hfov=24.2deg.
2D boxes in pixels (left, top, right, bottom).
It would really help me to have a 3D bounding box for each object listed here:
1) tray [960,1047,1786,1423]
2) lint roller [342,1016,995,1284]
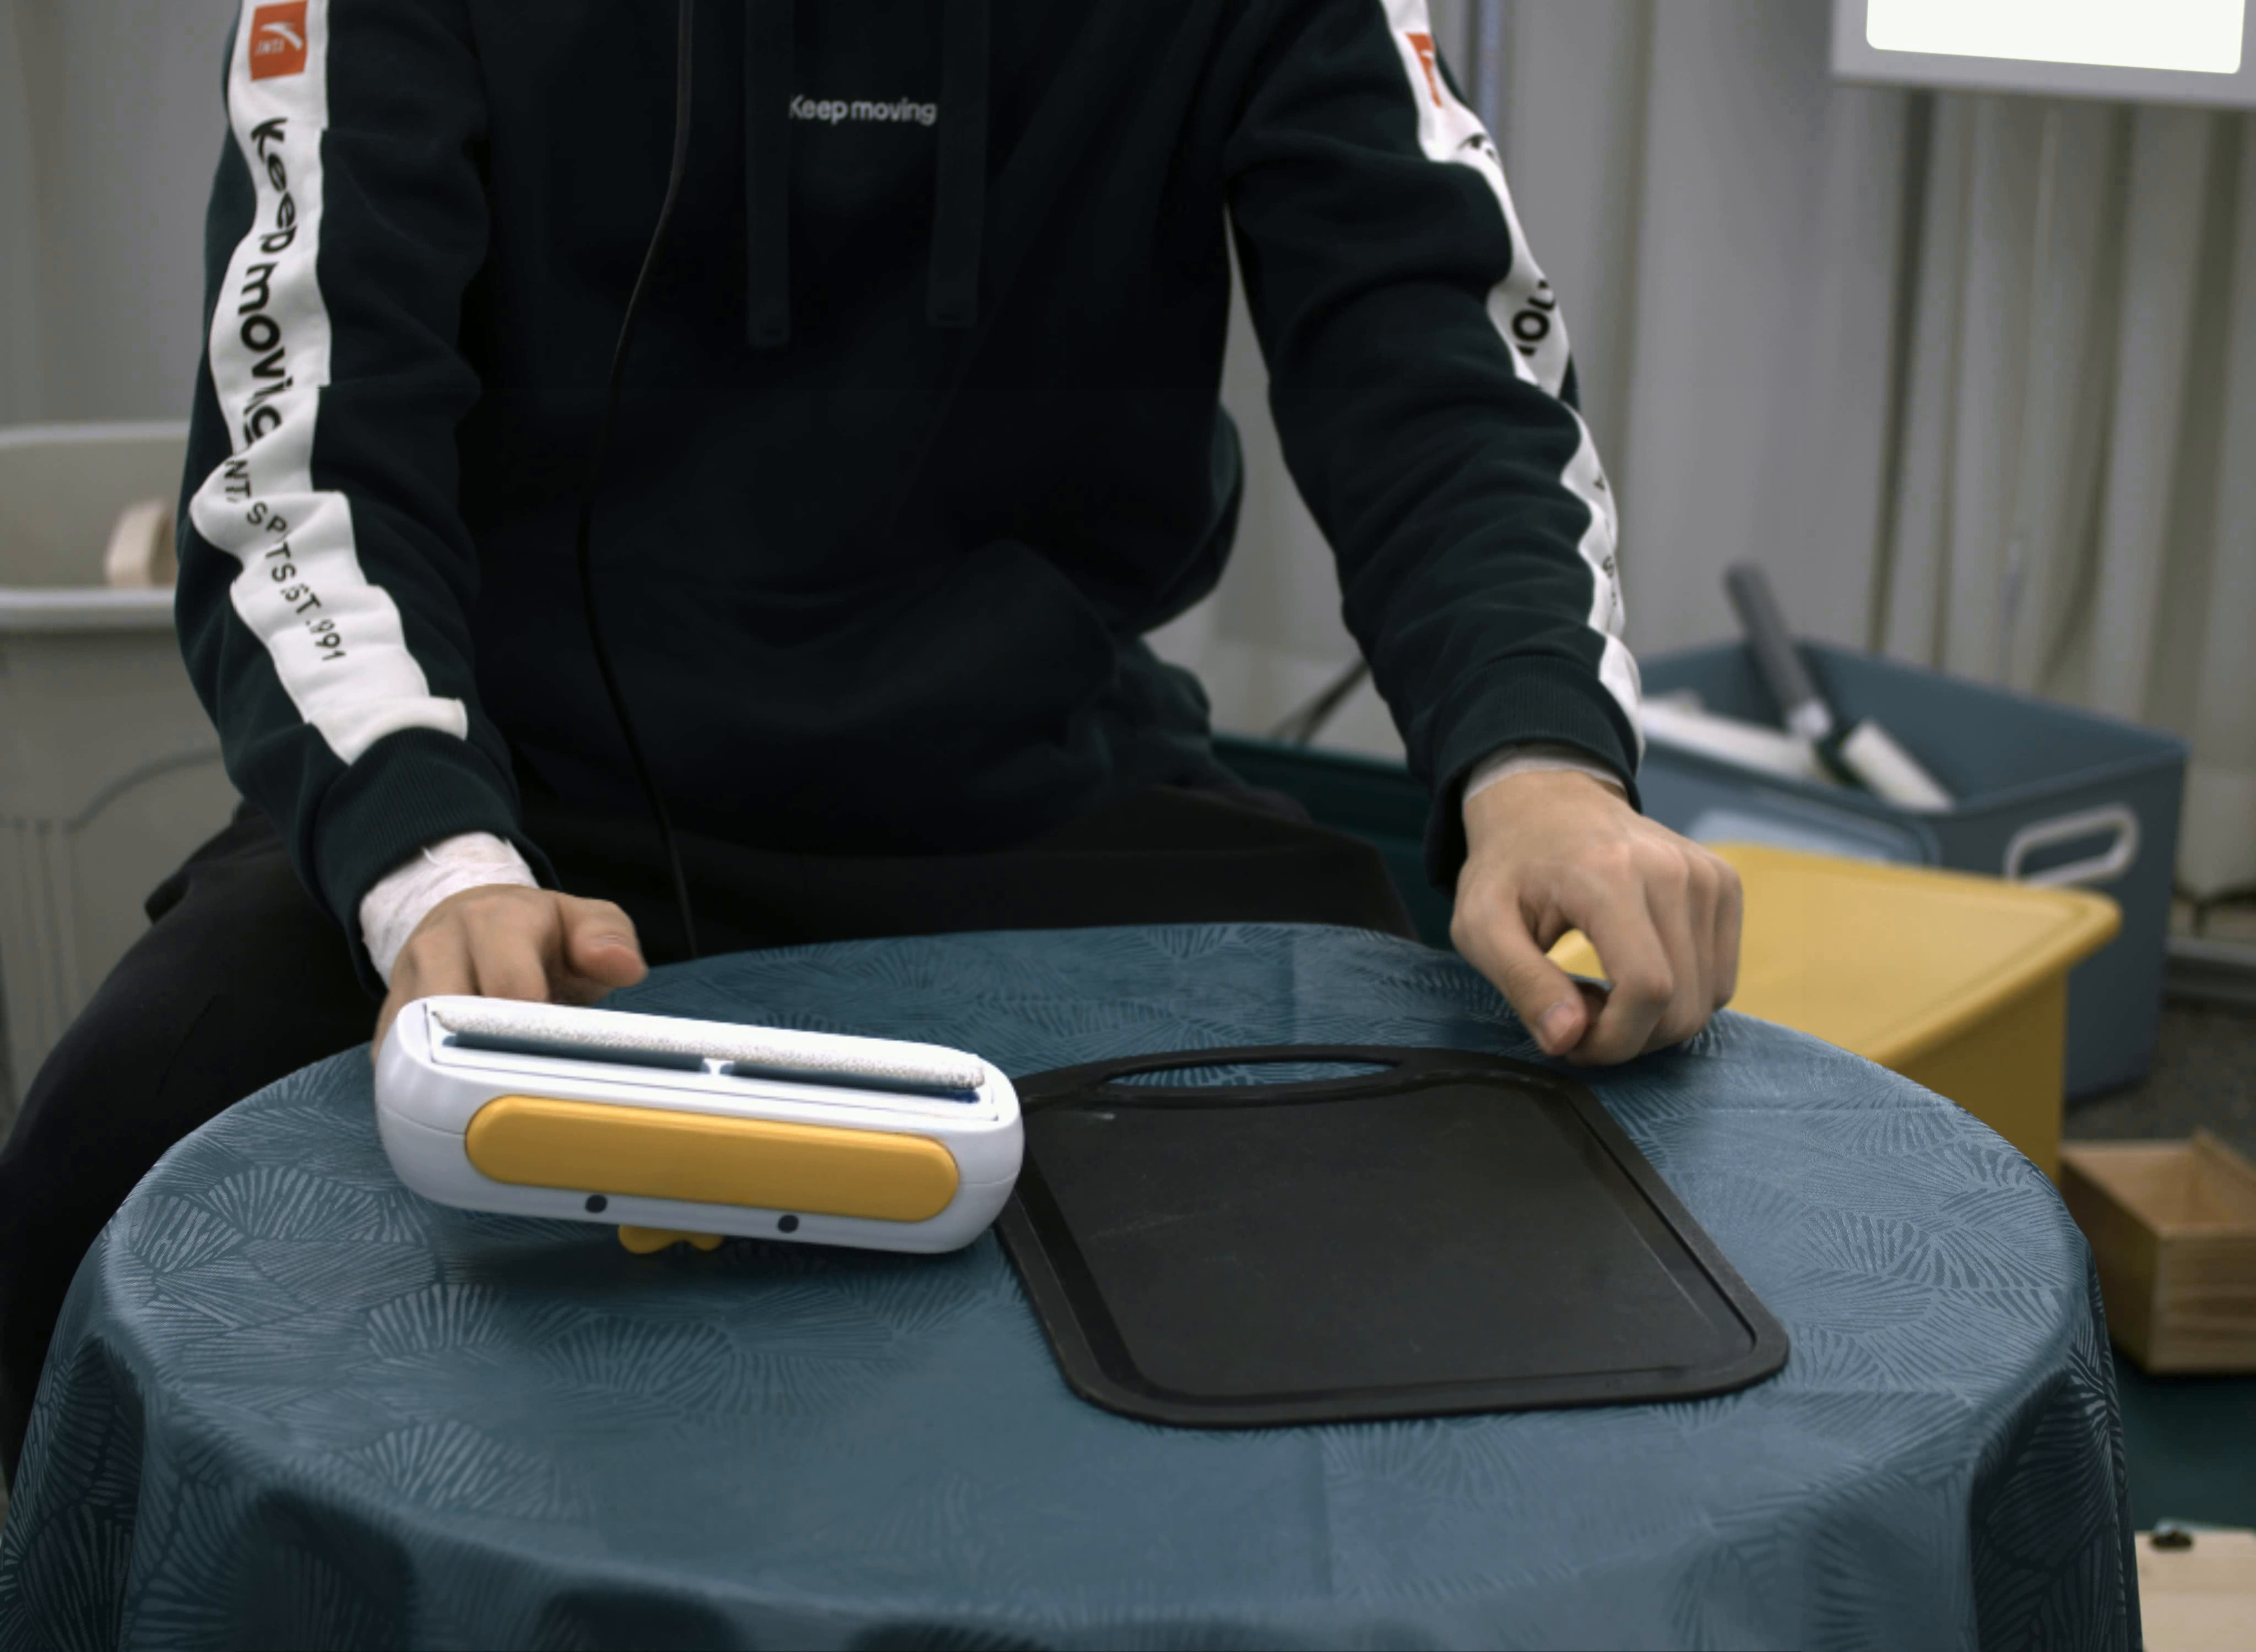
[{"bbox_3d":[0.063,0.116,1.595,0.211,0.010,0.322,-2,16,-10],"label":"tray"},{"bbox_3d":[-0.143,0.099,1.606,0.193,0.074,0.192,5,0,-8],"label":"lint roller"}]
